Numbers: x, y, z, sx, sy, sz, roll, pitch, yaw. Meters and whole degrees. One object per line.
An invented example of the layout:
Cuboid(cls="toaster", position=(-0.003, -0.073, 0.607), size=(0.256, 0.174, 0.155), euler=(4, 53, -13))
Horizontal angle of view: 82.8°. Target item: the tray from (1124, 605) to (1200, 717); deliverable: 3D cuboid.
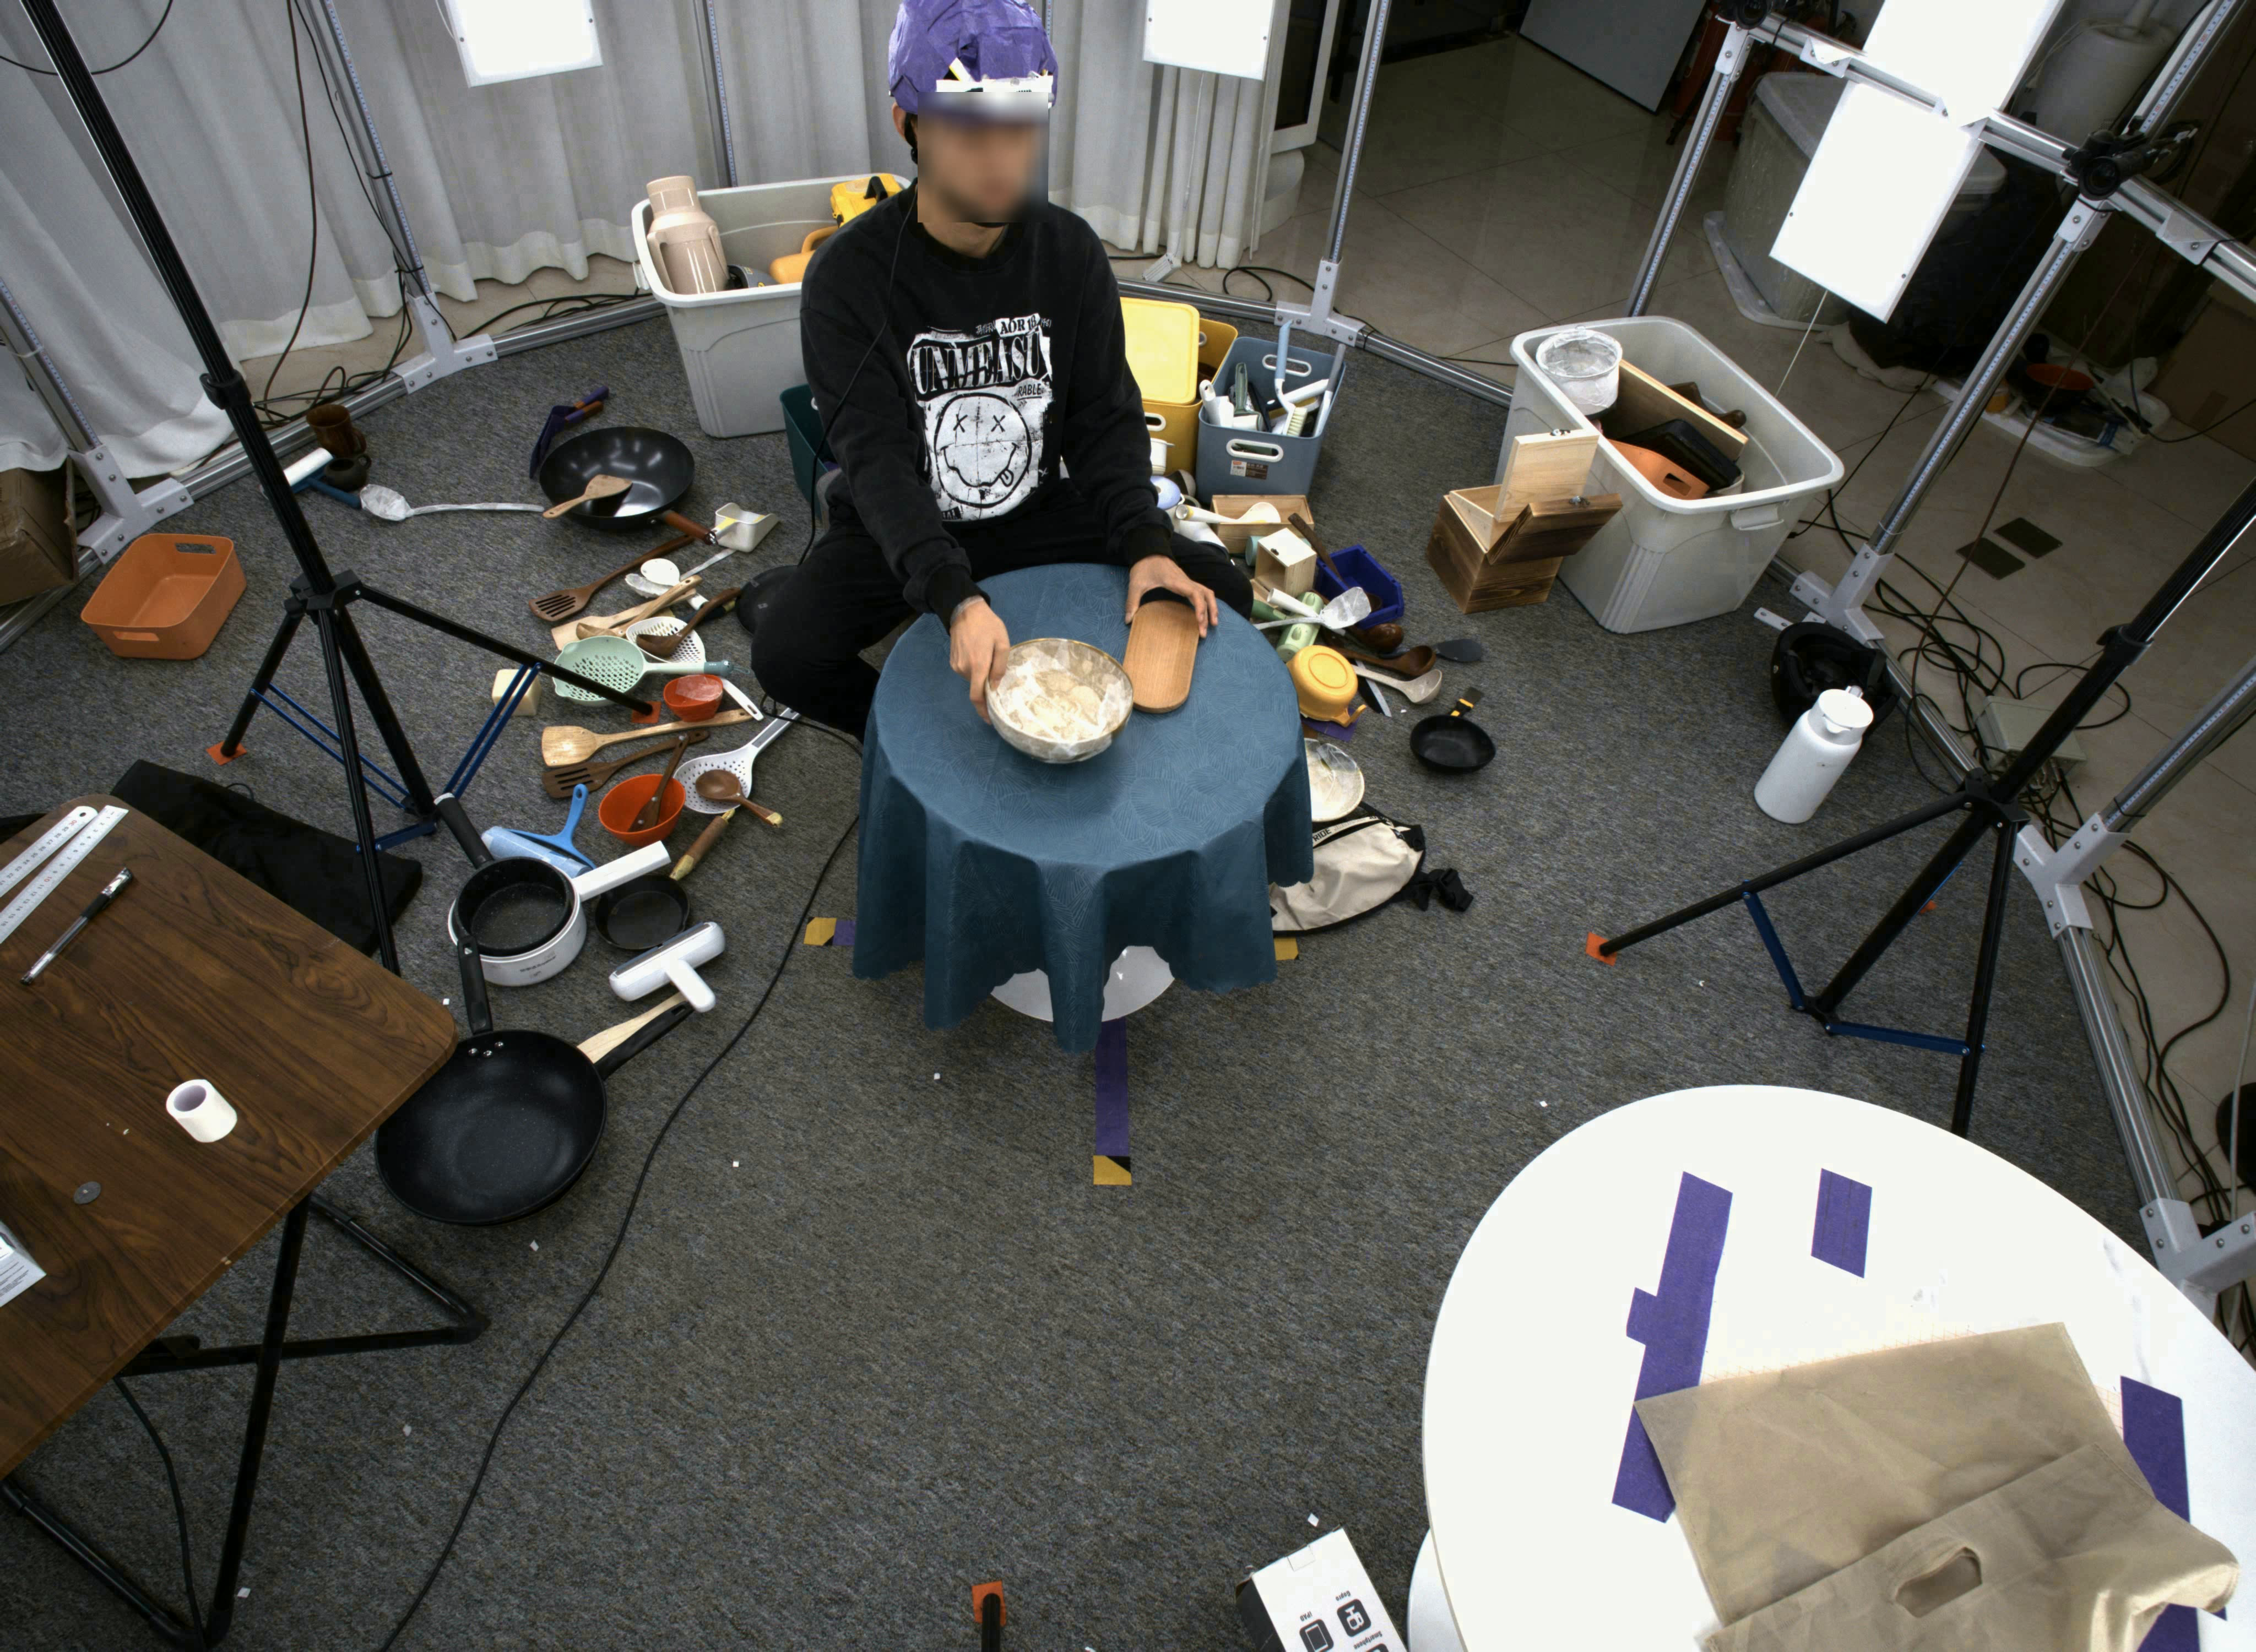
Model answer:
Cuboid(cls="tray", position=(0.050, -0.246, 1.892), size=(0.102, 0.020, 0.236), euler=(7, 50, 4))

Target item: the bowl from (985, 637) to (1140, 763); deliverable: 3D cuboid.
Cuboid(cls="bowl", position=(-0.092, -0.157, 1.749), size=(0.214, 0.092, 0.220), euler=(4, 47, -5))
